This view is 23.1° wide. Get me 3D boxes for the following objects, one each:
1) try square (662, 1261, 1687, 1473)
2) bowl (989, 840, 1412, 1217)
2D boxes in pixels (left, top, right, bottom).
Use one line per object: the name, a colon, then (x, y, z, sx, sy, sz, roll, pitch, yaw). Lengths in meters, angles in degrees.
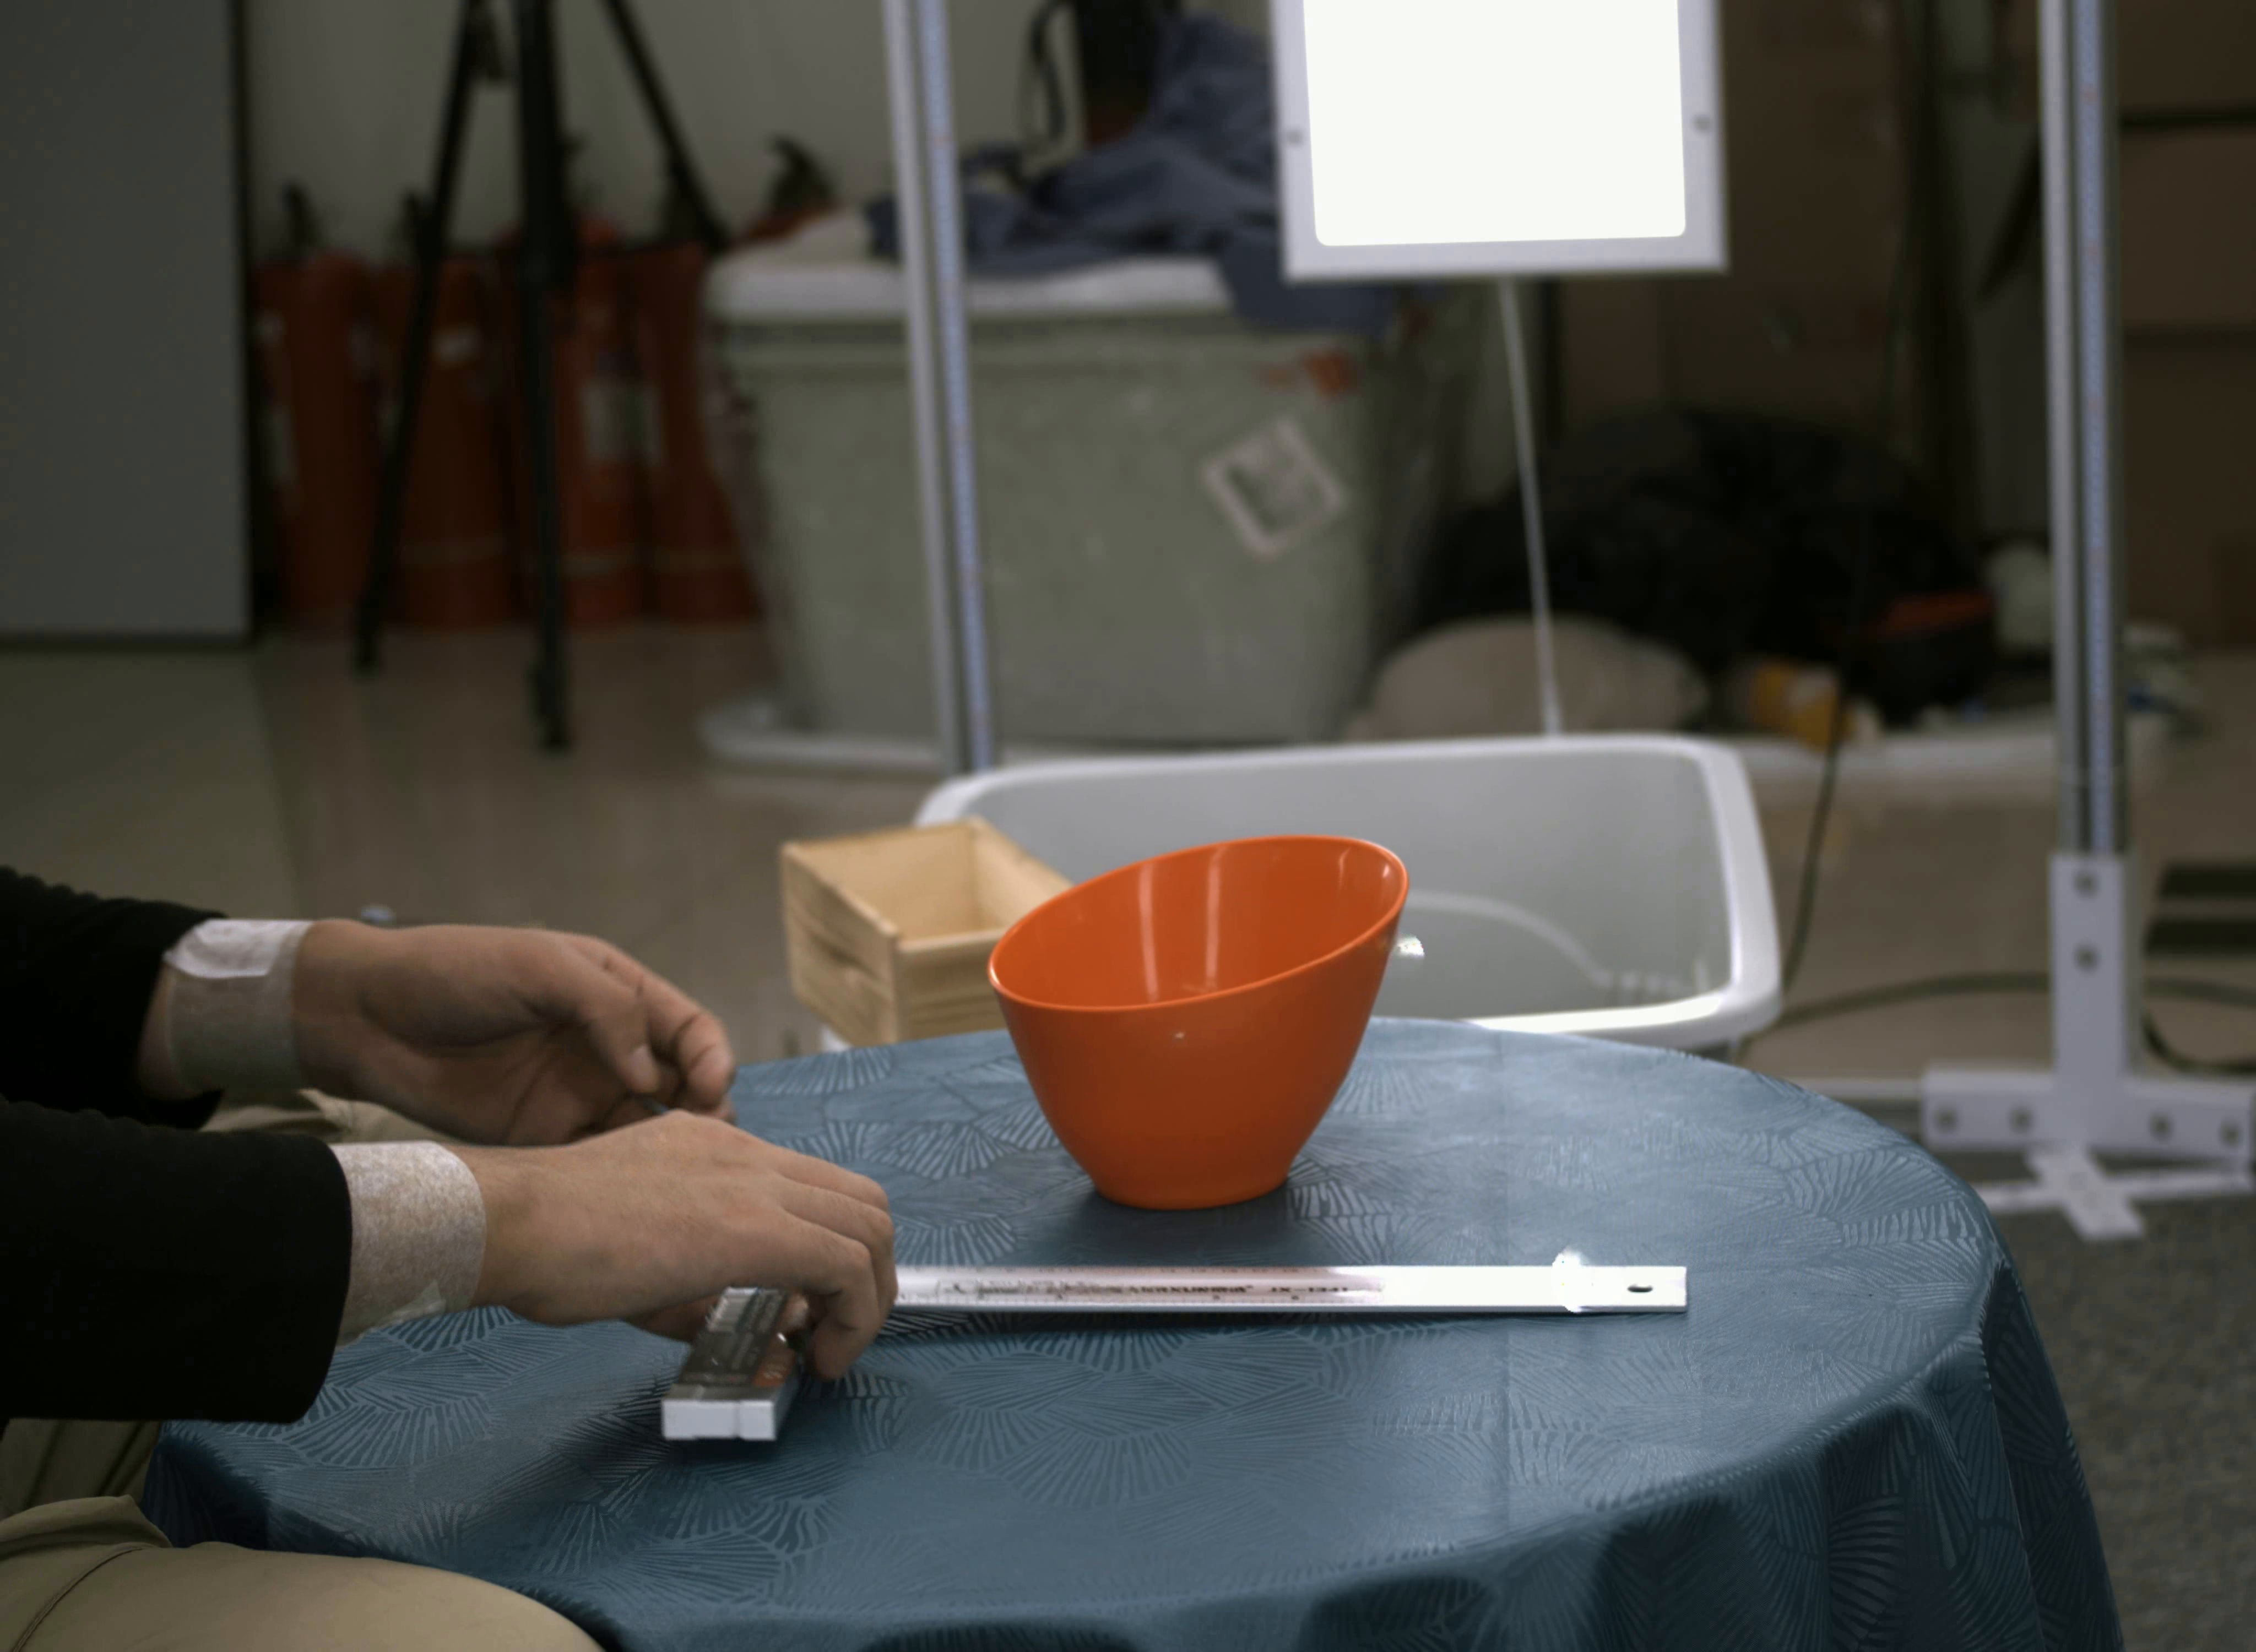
try square: (0.019, 0.165, 1.719, 0.314, 0.016, 0.151, -1, 18, 8)
bowl: (0.028, 0.073, 1.896, 0.147, 0.105, 0.148, -5, 15, 0)
